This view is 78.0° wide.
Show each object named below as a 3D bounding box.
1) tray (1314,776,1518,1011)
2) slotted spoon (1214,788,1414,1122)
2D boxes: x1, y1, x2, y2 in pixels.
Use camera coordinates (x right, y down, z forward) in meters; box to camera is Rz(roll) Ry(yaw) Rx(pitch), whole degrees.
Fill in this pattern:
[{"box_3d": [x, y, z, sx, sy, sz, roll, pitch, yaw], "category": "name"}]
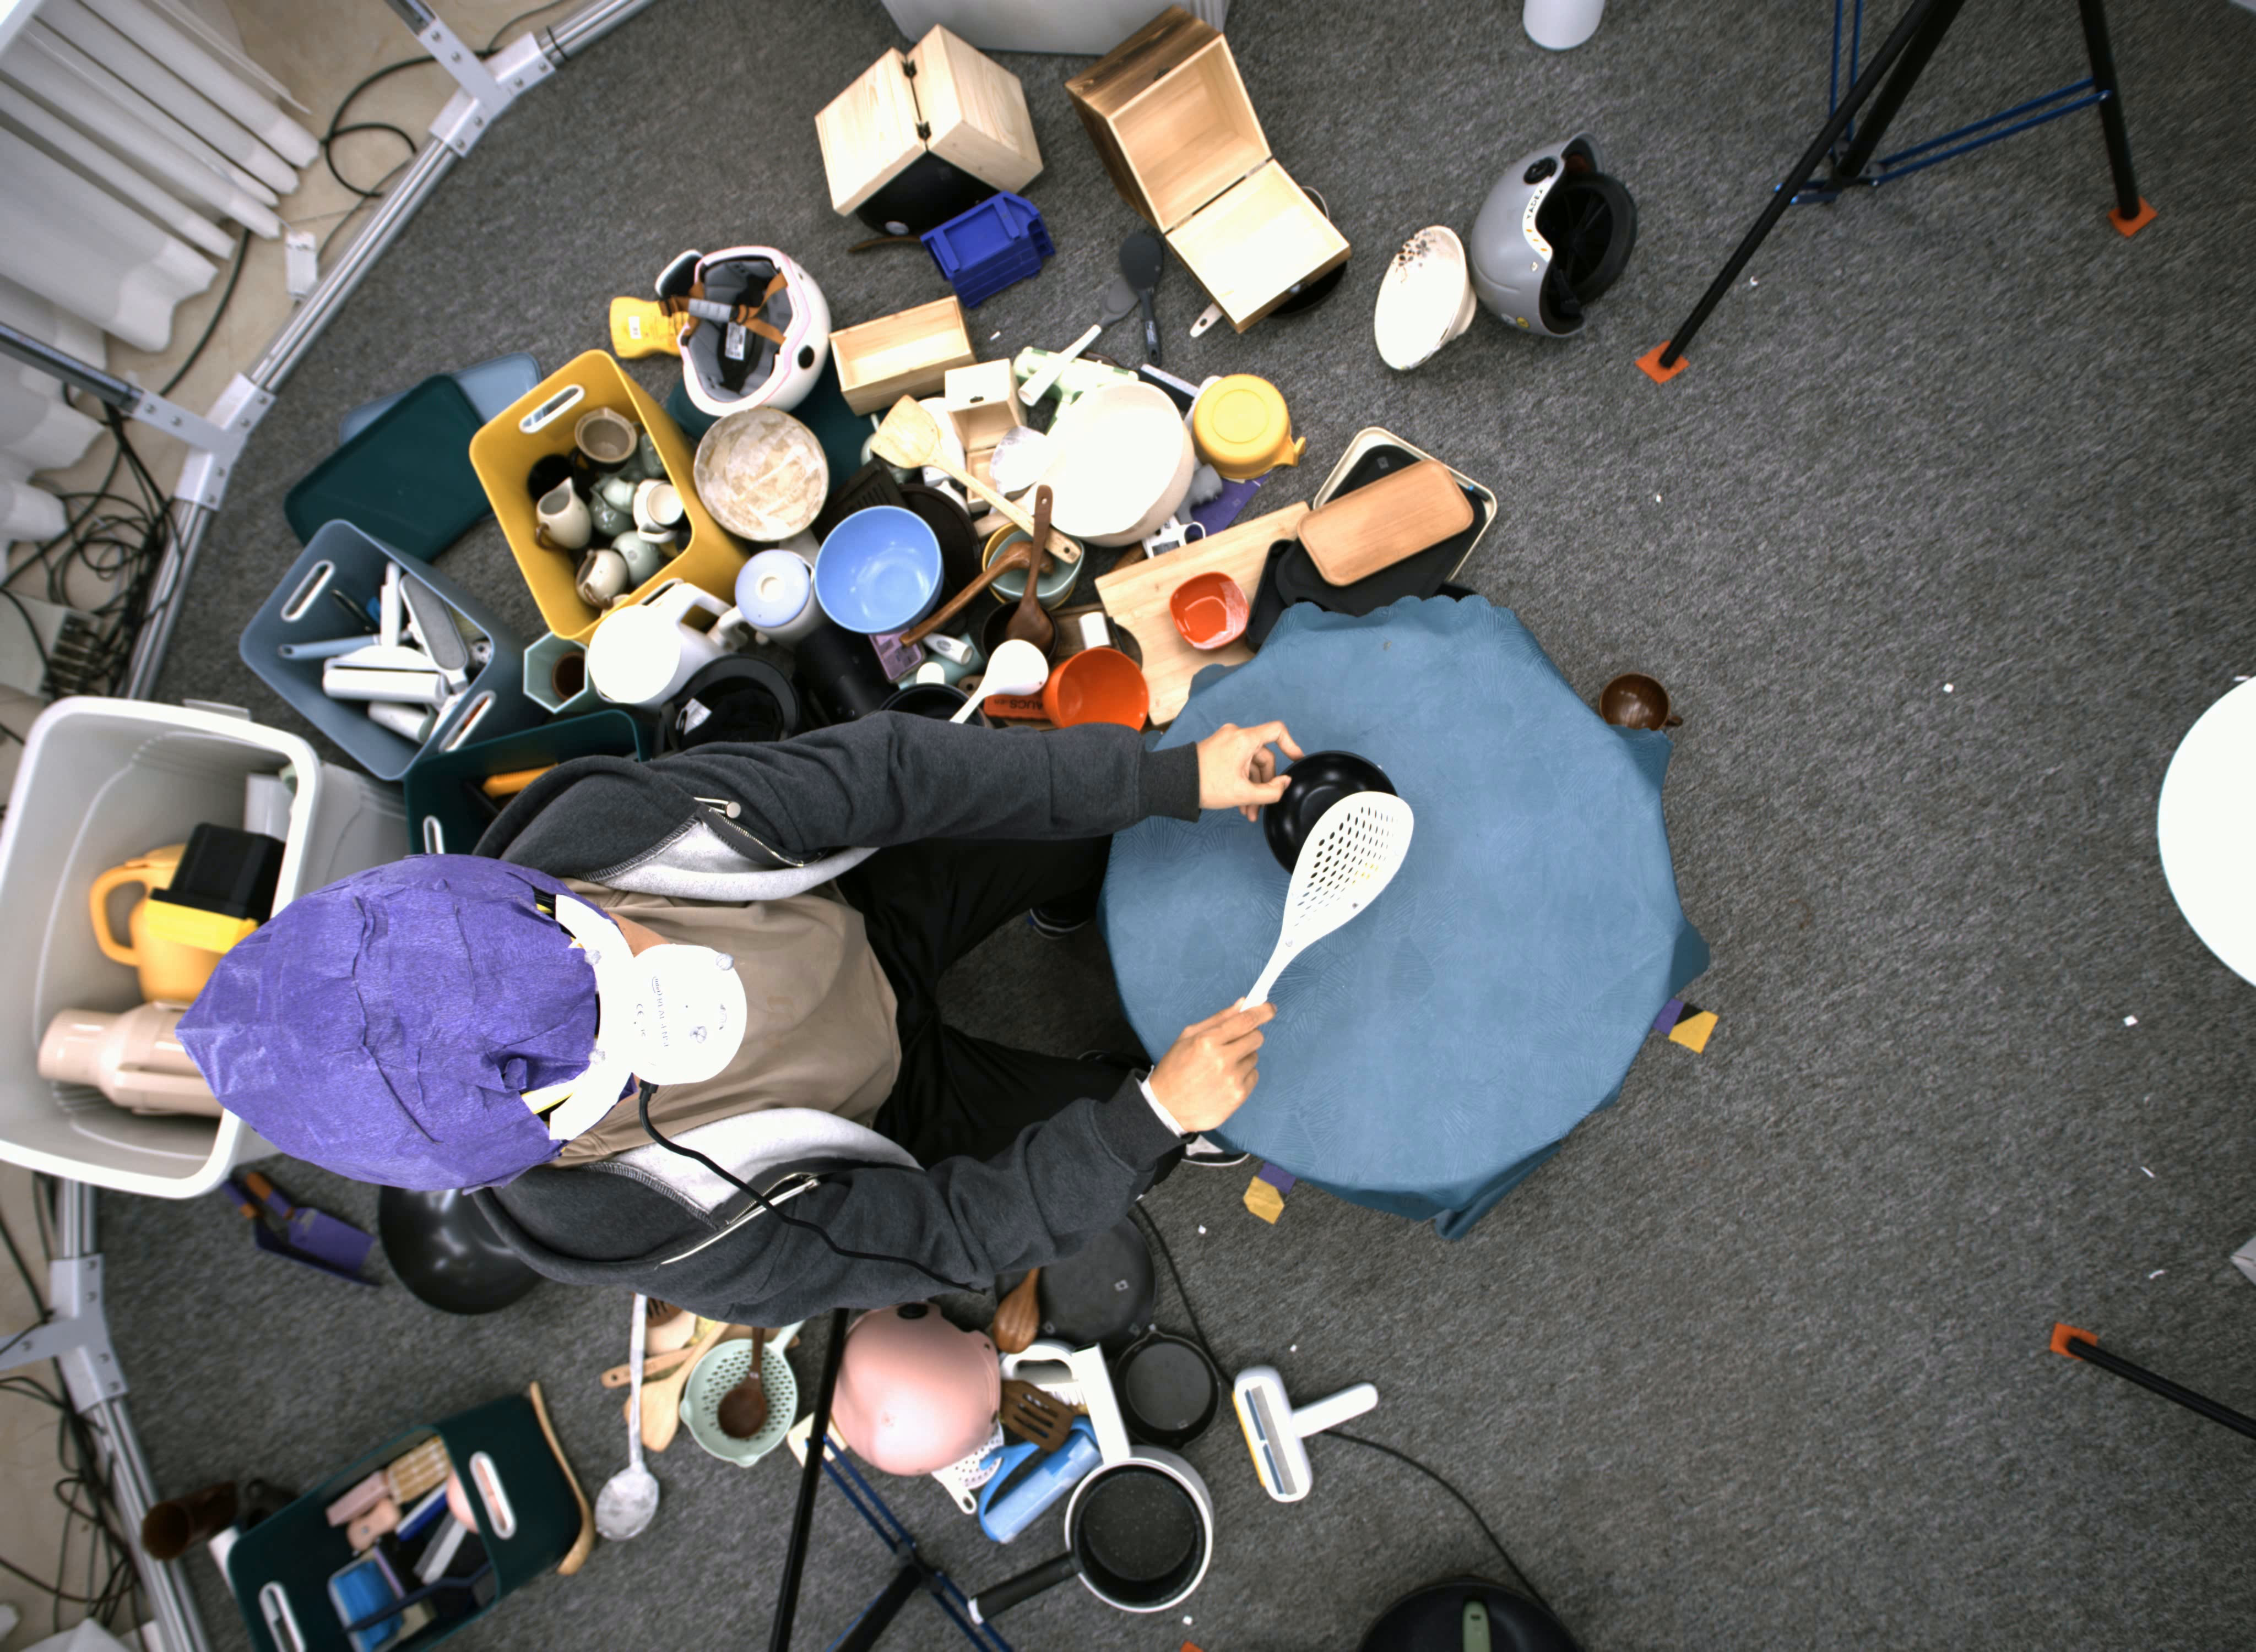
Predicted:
[{"box_3d": [0.414, 0.094, 1.987, 0.191, 0.027, 0.300, 27, 91, 11], "category": "tray"}, {"box_3d": [0.161, 0.118, 1.305, 0.051, 0.136, 0.345, 39, 81, -34], "category": "slotted spoon"}]
